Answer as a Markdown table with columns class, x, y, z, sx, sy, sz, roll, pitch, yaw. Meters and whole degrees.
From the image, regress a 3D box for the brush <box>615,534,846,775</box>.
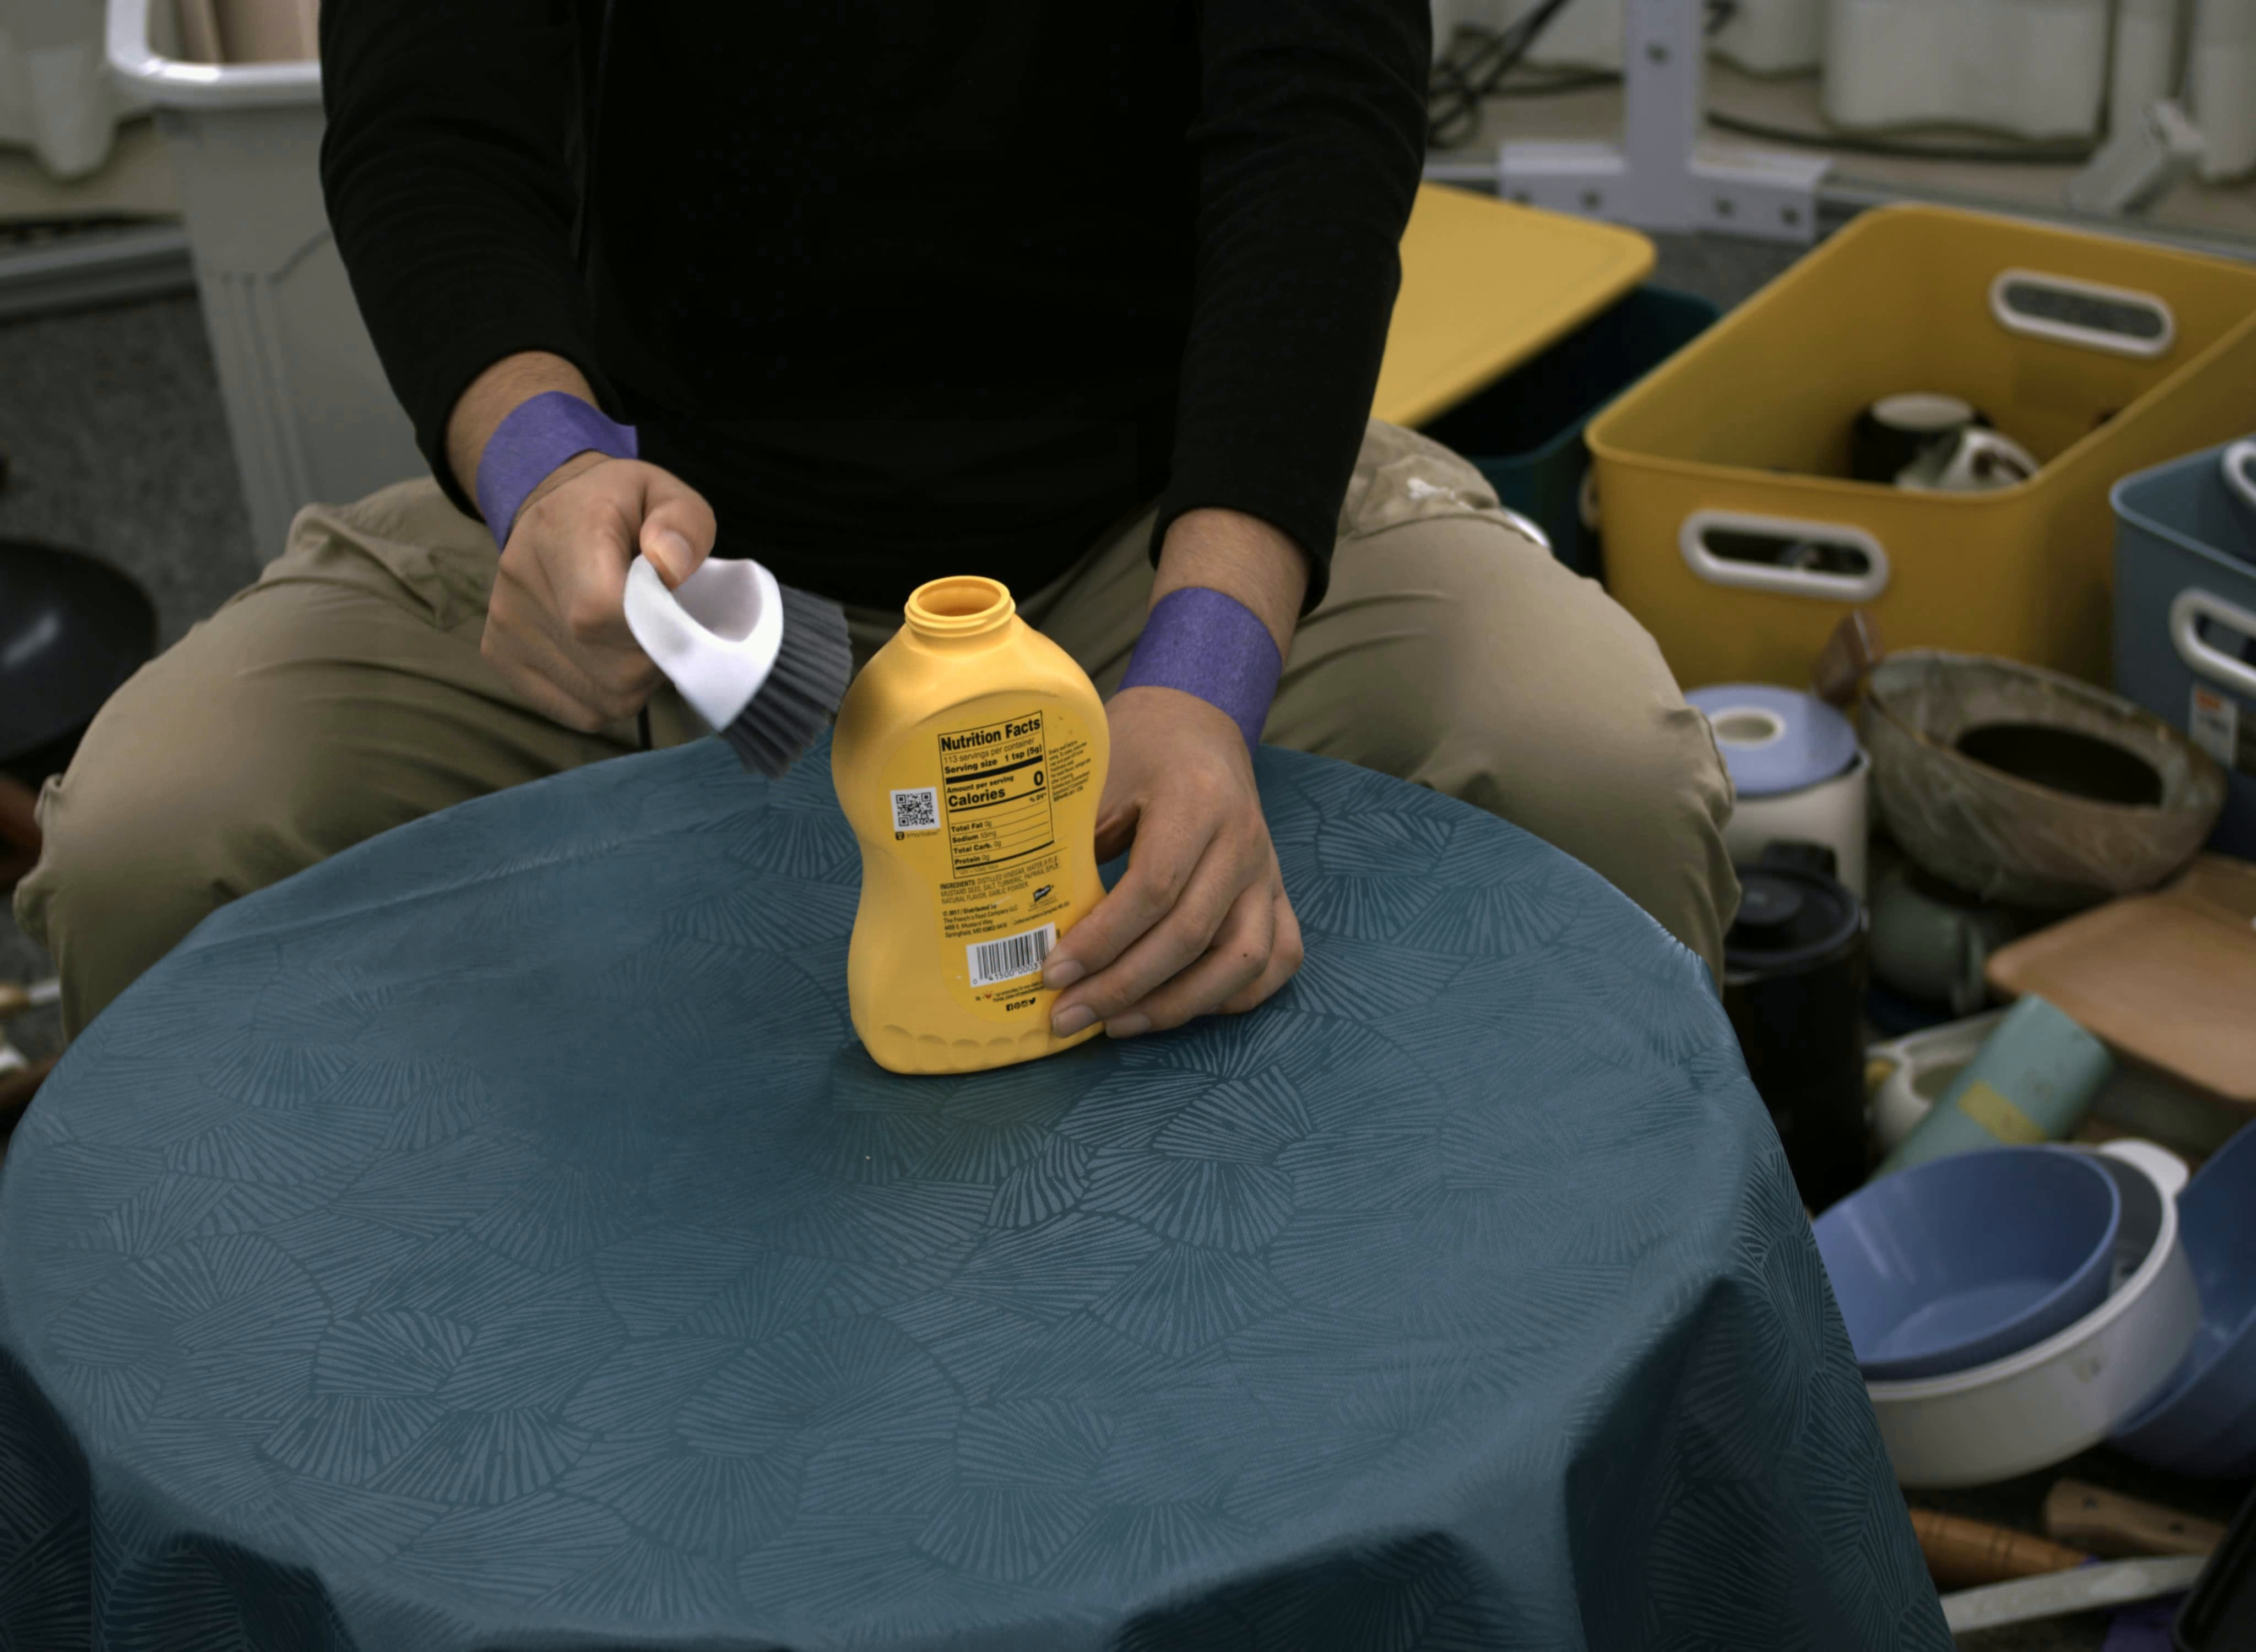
| class | x | y | z | sx | sy | sz | roll | pitch | yaw |
| --- | --- | --- | --- | --- | --- | --- | --- | --- | --- |
| brush | -0.137 | -0.065 | 1.865 | 0.072 | 0.050 | 0.100 | 34 | 15 | -16 |

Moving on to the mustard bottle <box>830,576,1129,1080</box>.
| class | x | y | z | sx | sy | sz | roll | pitch | yaw |
| --- | --- | --- | --- | --- | --- | --- | --- | --- | --- |
| mustard bottle | -0.053 | -0.001 | 1.923 | 0.098 | 0.170 | 0.060 | -14 | 26 | -17 |
